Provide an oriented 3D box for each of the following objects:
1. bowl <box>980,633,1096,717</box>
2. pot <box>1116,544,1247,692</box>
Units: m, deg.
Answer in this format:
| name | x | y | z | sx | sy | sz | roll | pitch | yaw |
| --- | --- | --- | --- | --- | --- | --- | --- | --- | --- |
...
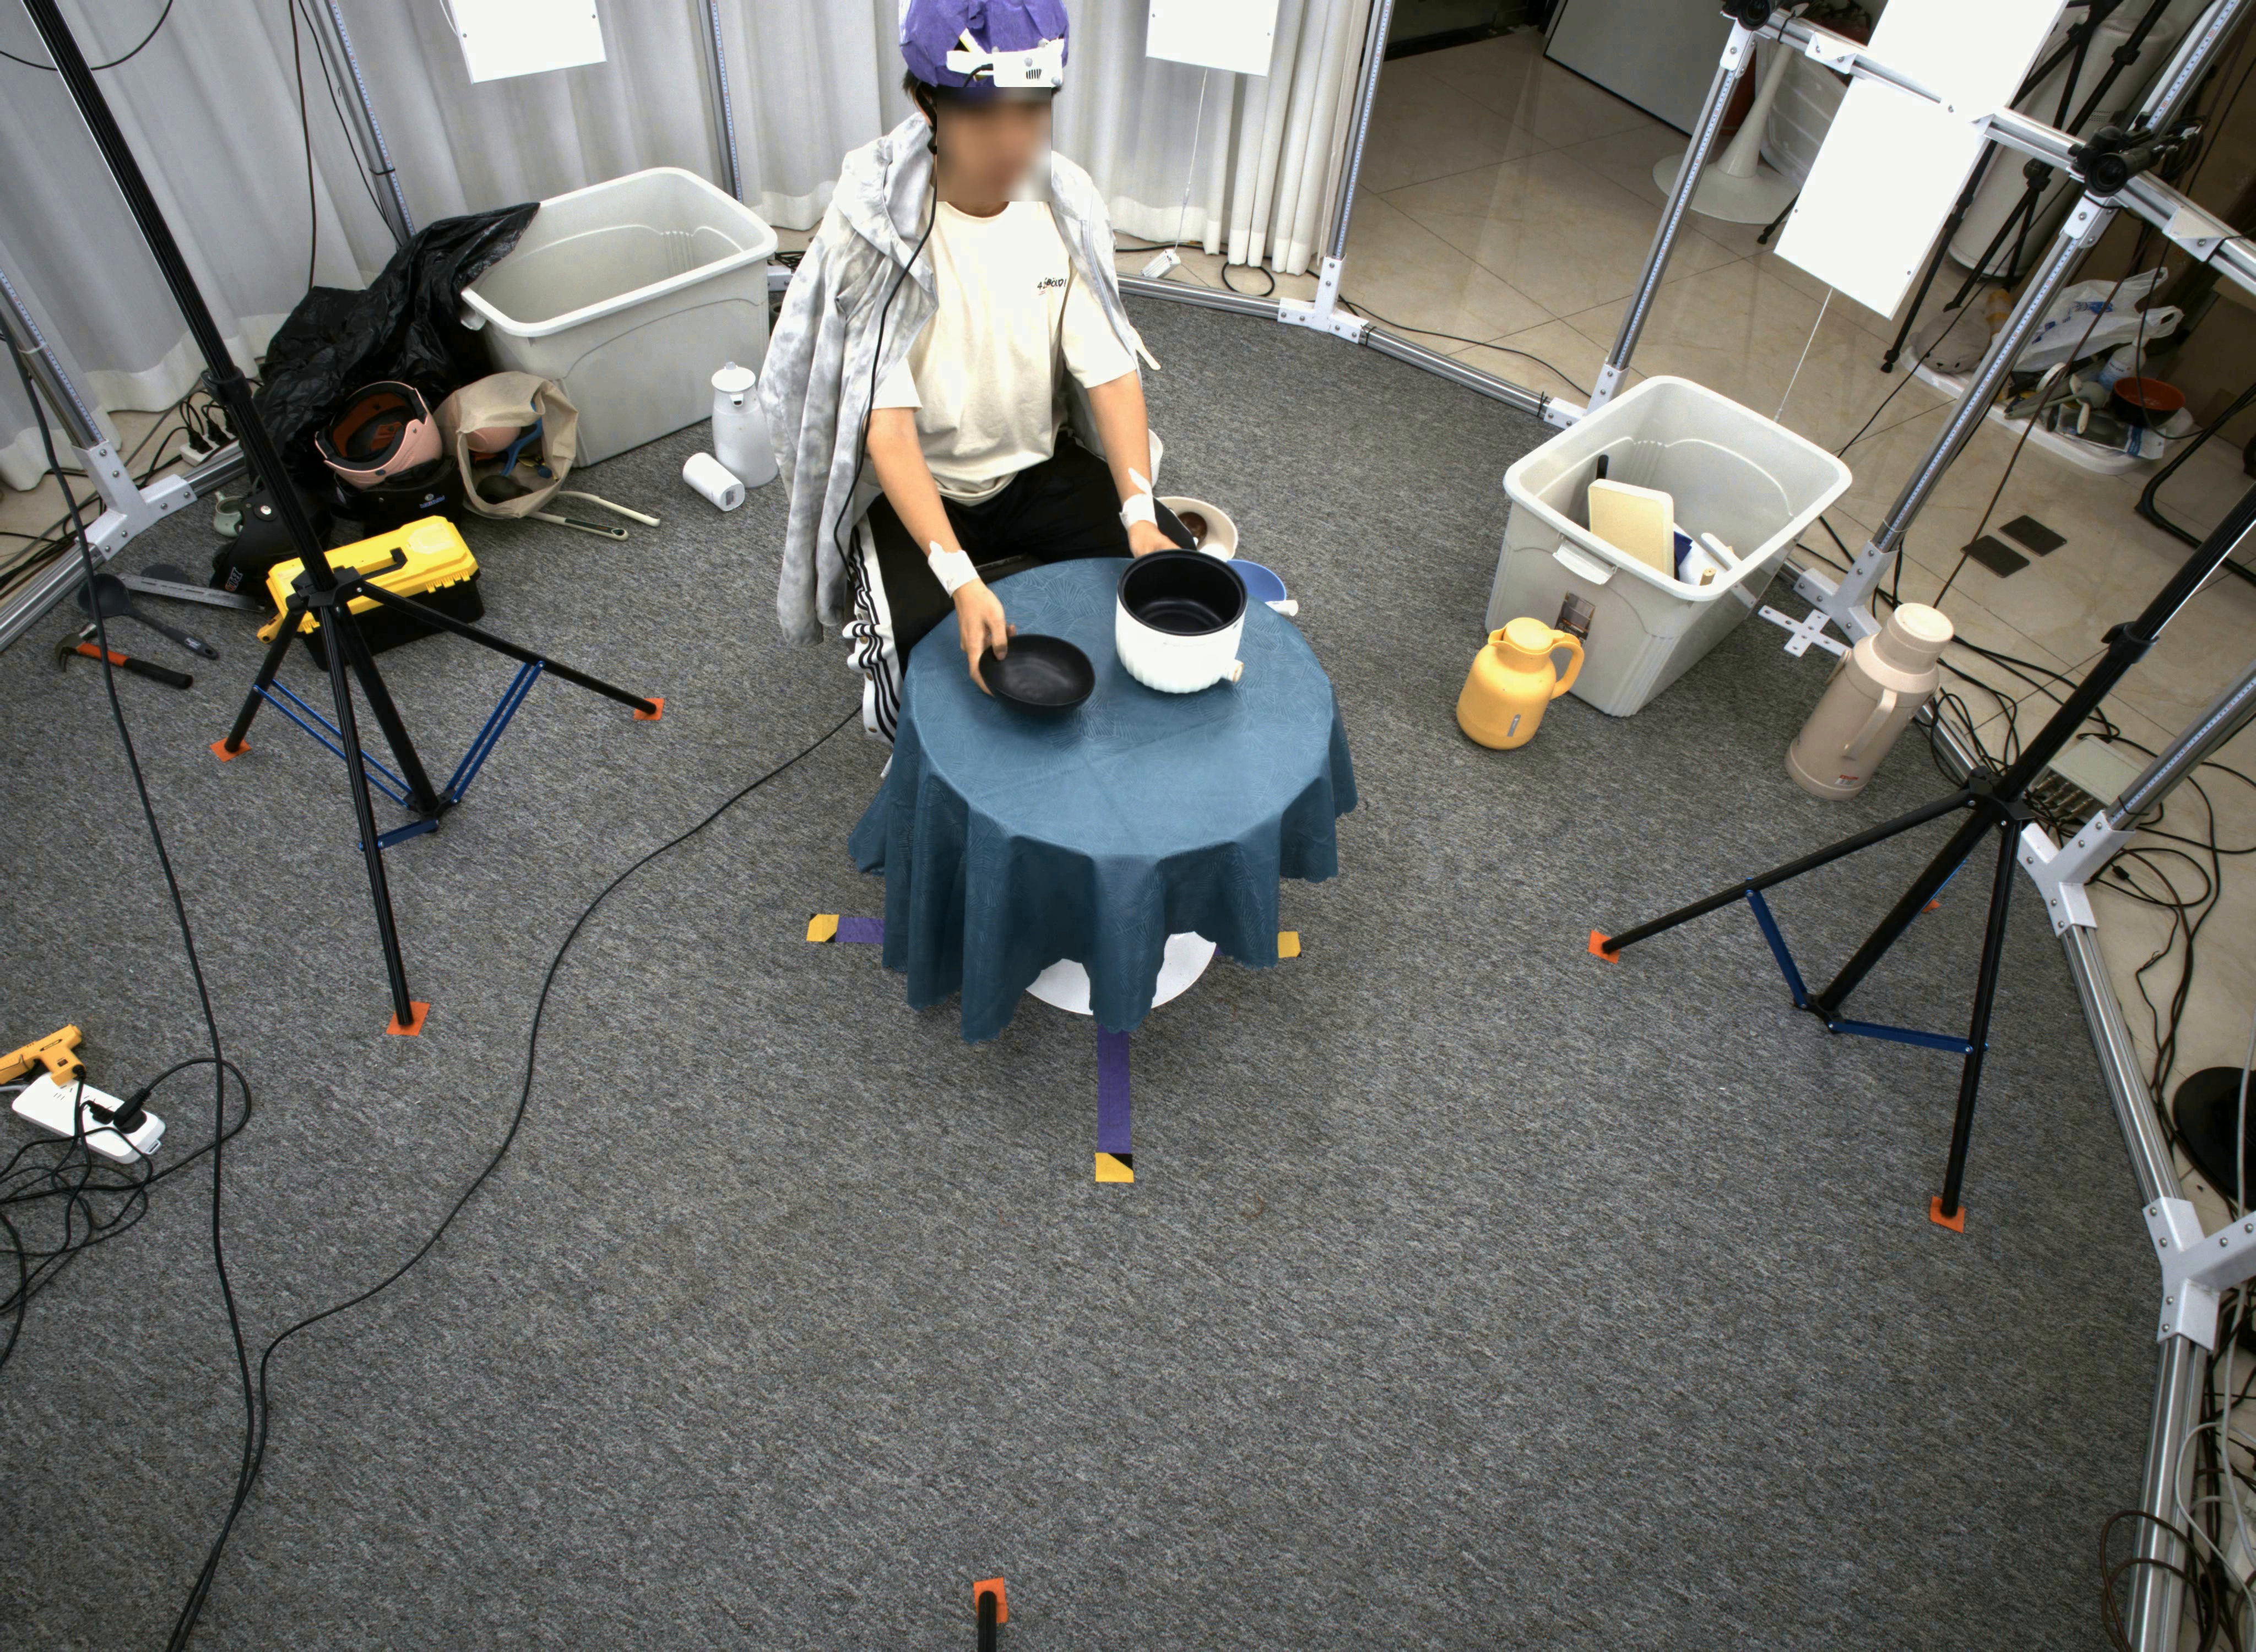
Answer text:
| name | x | y | z | sx | sy | sz | roll | pitch | yaw |
| --- | --- | --- | --- | --- | --- | --- | --- | --- | --- |
| bowl | -0.127 | -0.199 | 1.783 | 0.171 | 0.065 | 0.139 | 23 | 50 | 17 |
| pot | 0.077 | -0.284 | 1.824 | 0.192 | 0.139 | 0.244 | 21 | 51 | 18 |
